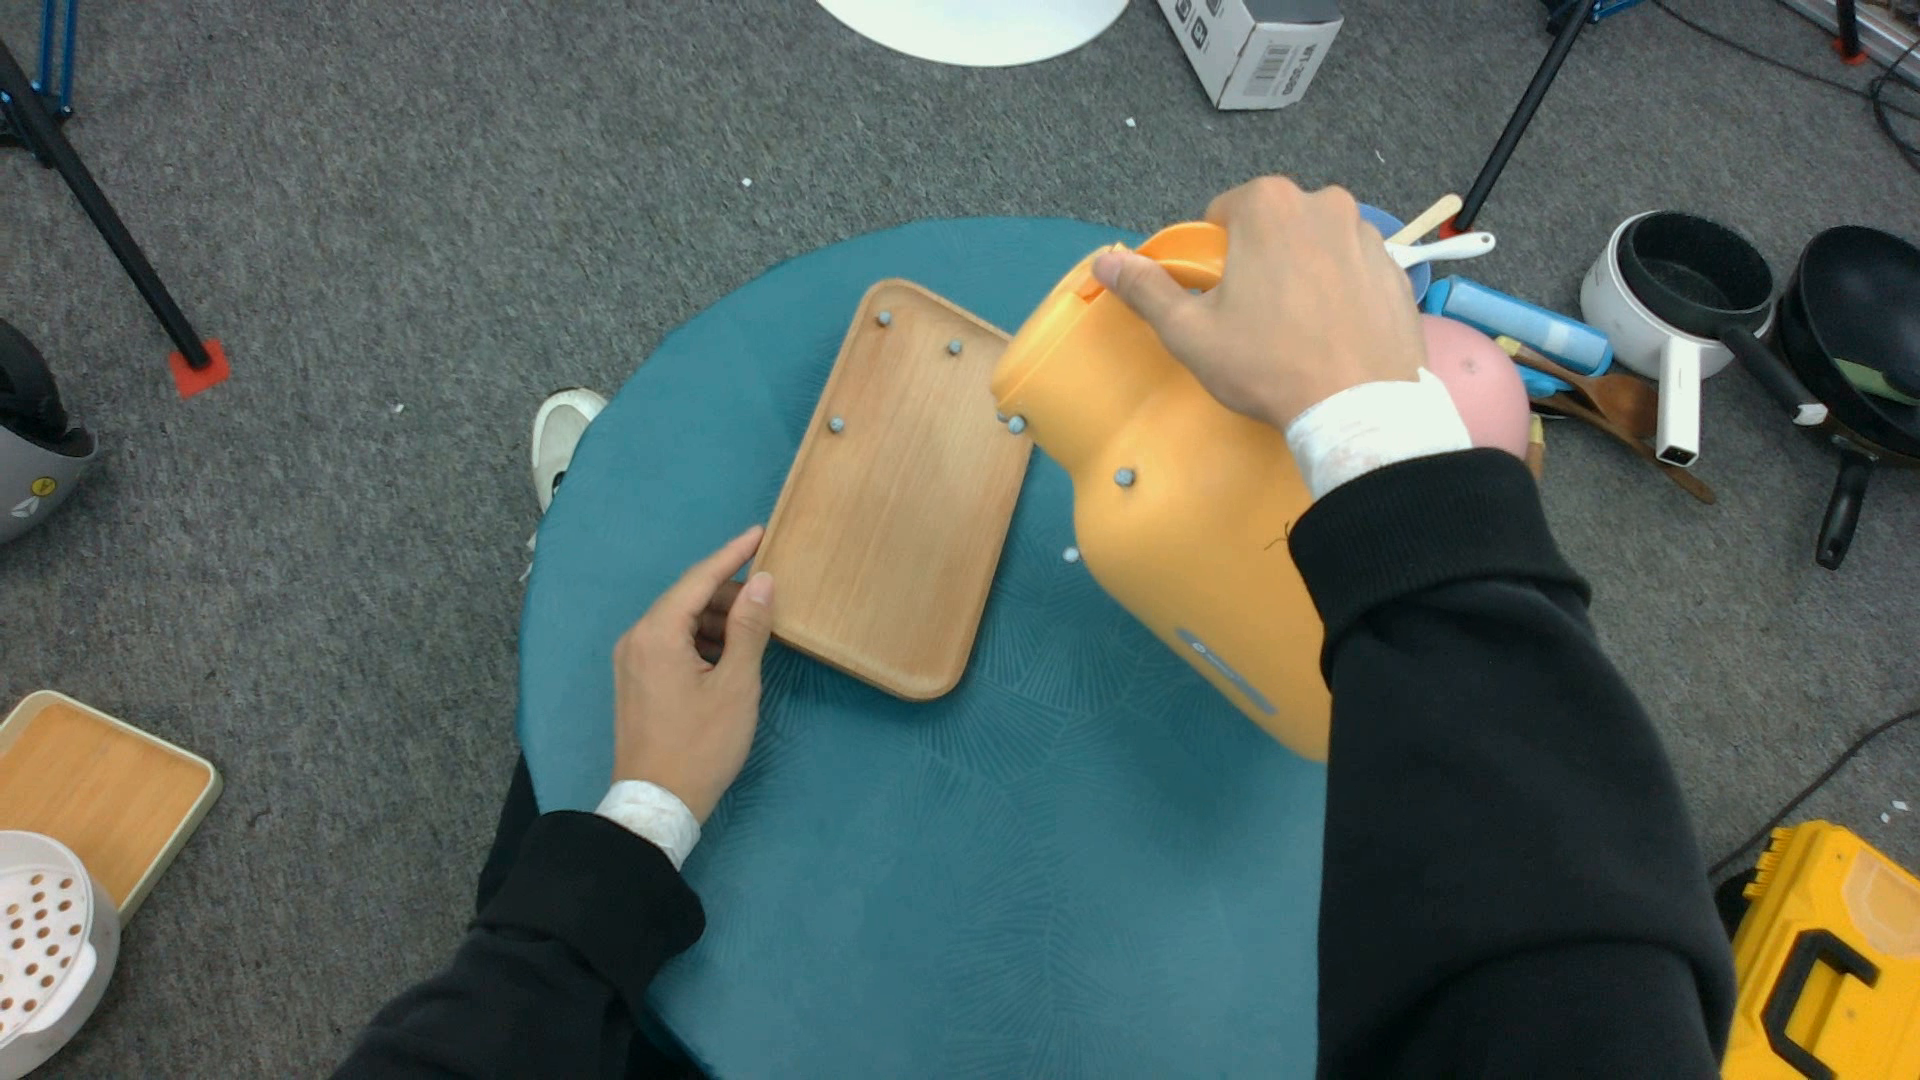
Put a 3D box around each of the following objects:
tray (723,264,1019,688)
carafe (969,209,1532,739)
[{"bbox_3d":[-0.040,-0.042,0.772,0.130,0.023,0.252,26,58,-12],"label":"tray"},{"bbox_3d":[0.133,-0.039,0.637,0.260,0.201,0.164,37,67,-4],"label":"carafe"}]
